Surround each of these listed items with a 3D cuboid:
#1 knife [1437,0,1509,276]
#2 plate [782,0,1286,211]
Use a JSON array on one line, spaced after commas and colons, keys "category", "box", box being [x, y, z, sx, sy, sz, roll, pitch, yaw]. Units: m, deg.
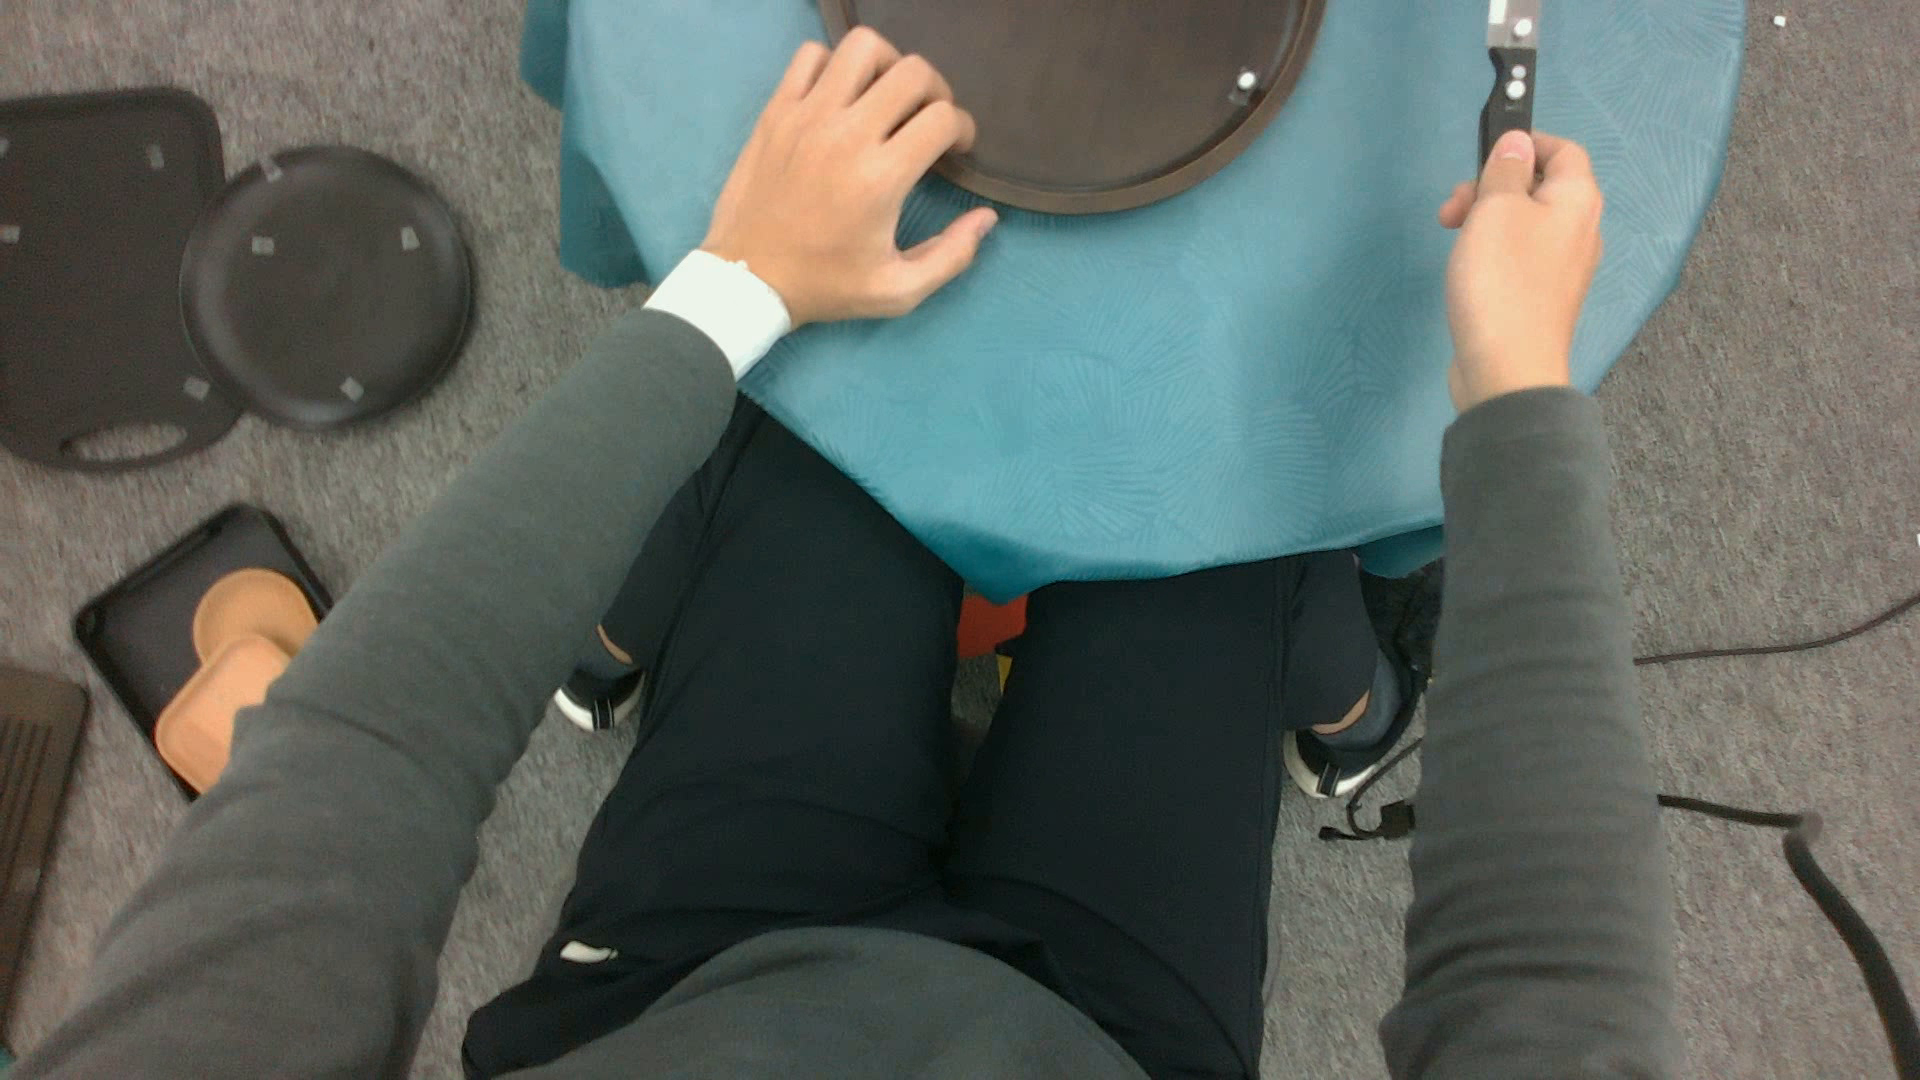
[{"category": "knife", "box": [0.249, -0.237, 0.655, 0.024, 0.016, 0.238, 8, 79, 7]}, {"category": "plate", "box": [0.037, -0.286, 0.684, 0.255, 0.029, 0.255, 0, 85, -3]}]
